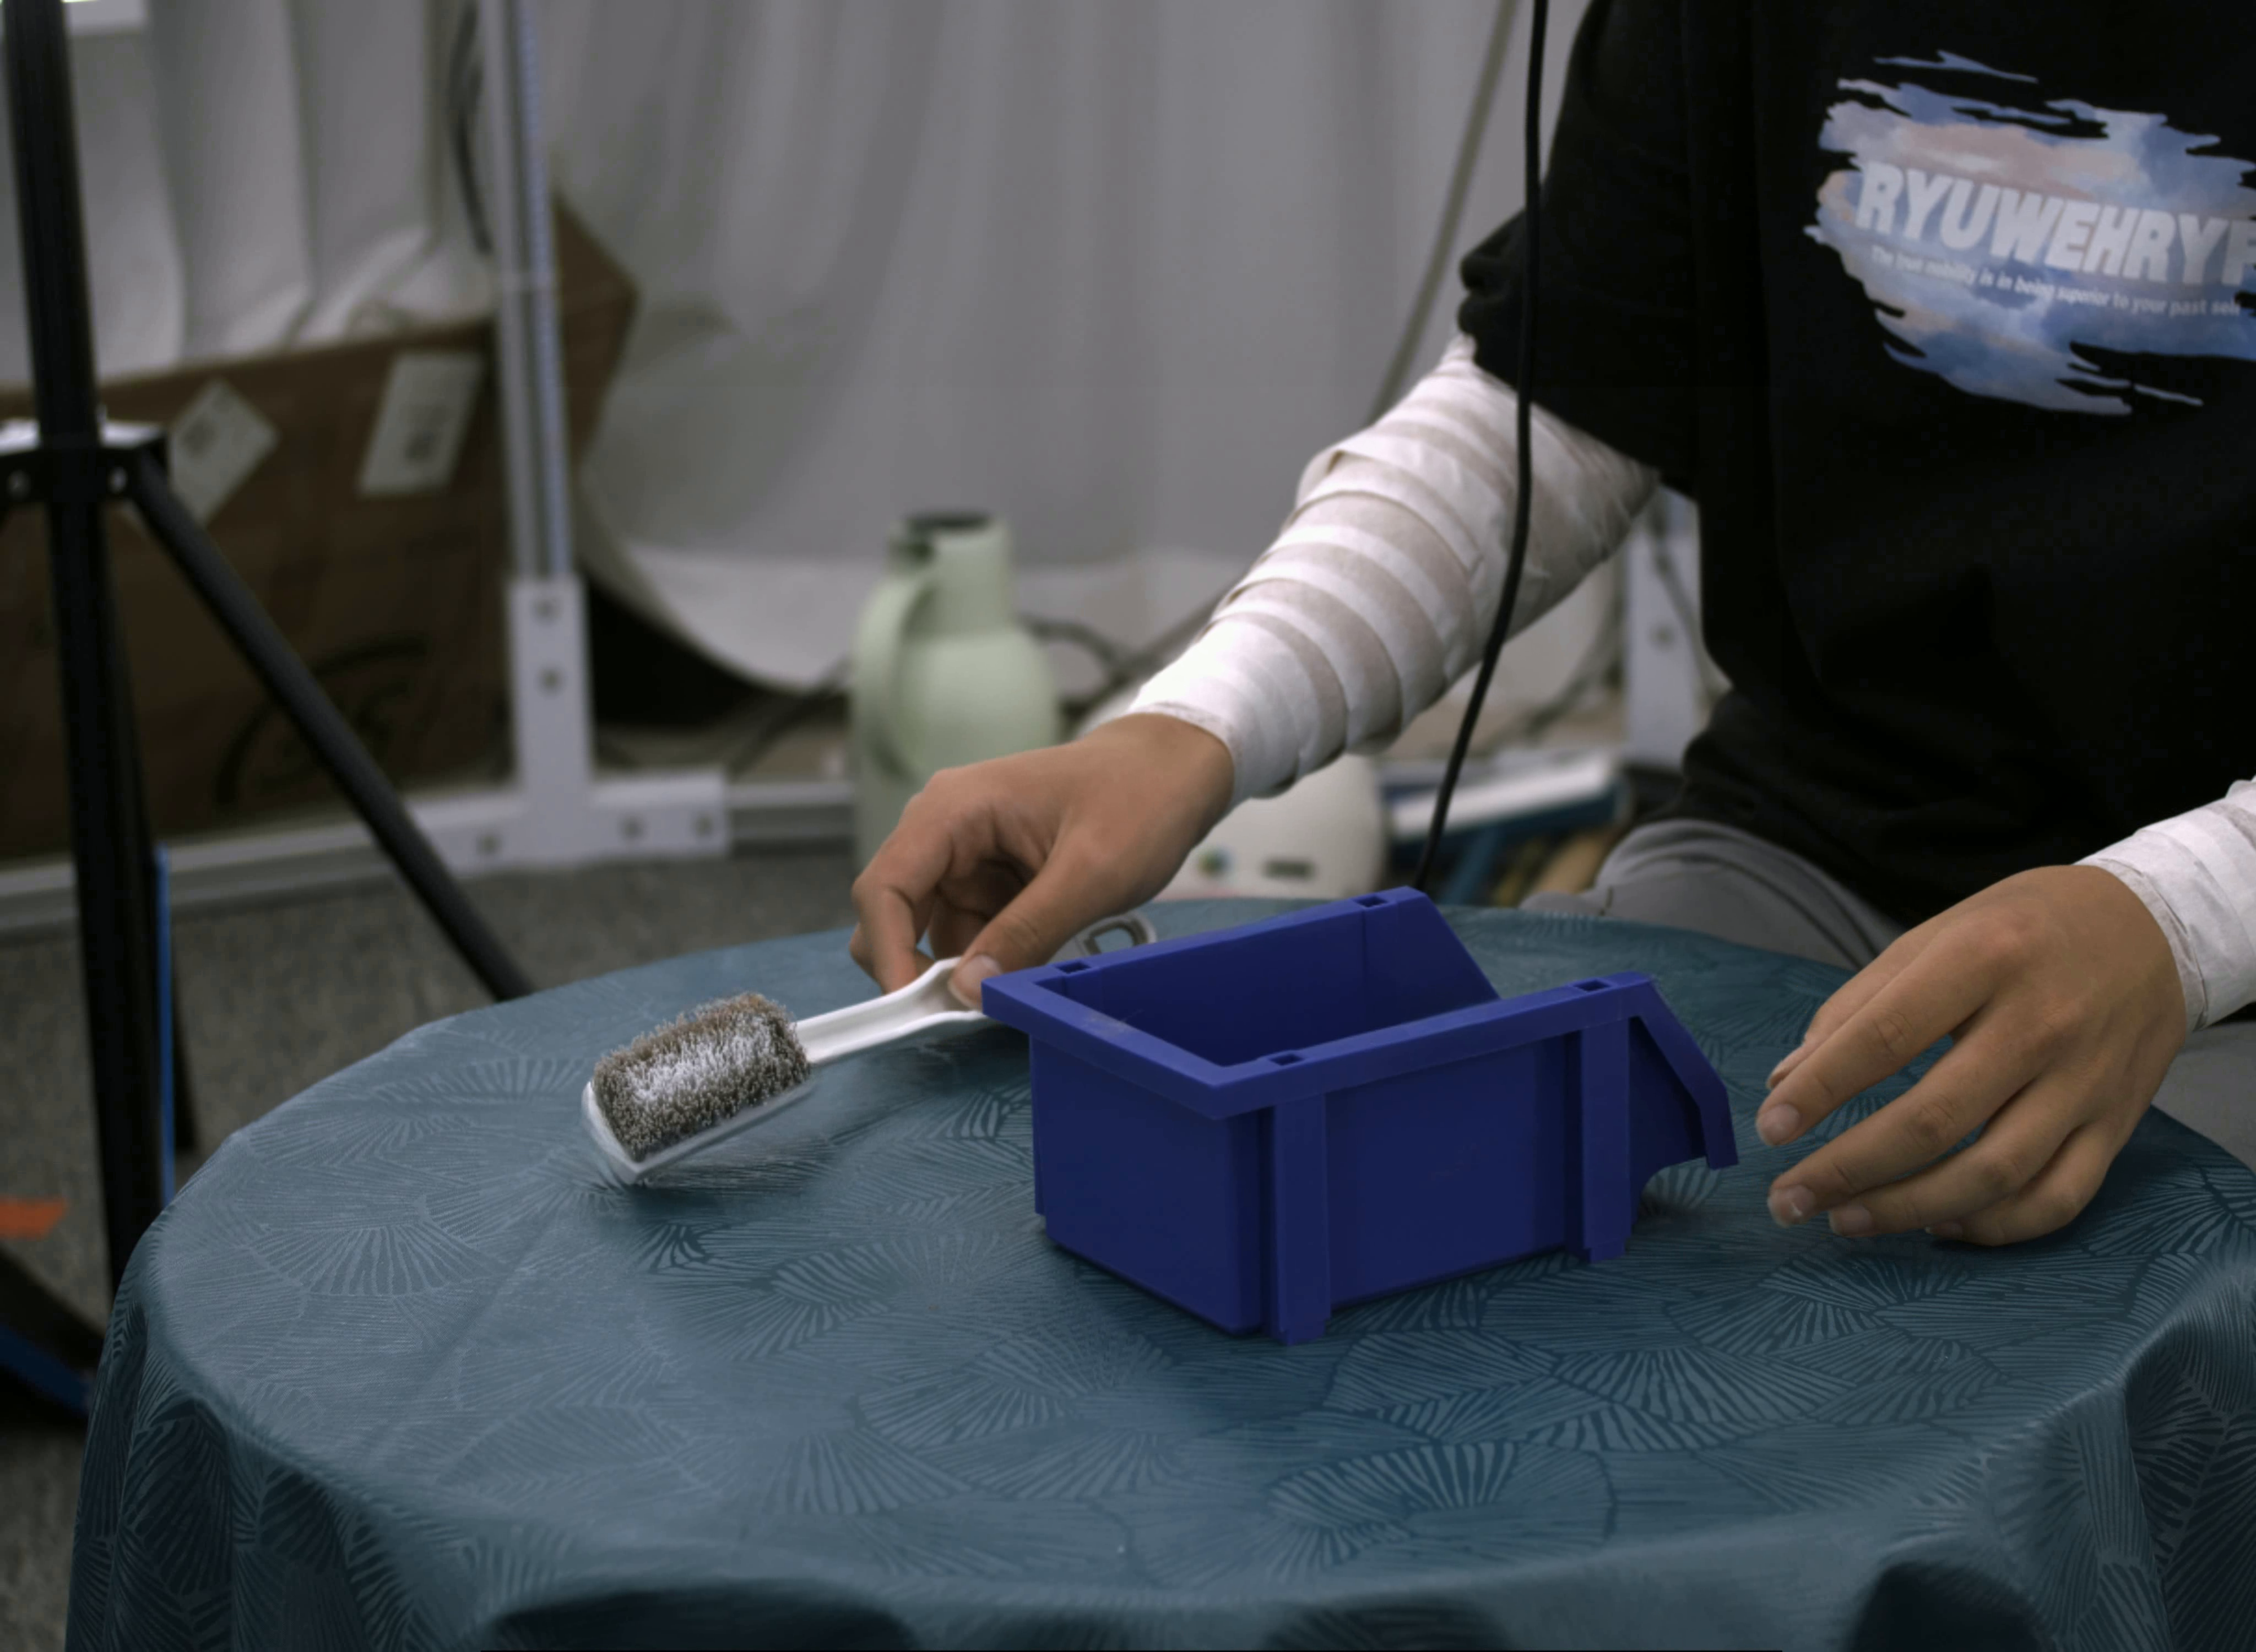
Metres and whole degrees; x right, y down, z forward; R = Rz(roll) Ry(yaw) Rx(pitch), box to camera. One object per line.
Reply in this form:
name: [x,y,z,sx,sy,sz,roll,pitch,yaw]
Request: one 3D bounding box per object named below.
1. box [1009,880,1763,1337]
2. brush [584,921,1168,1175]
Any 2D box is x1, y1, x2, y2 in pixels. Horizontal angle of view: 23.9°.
box: [0.073,0.076,1.512,0.175,0.082,0.127,-12,18,-28]
brush: [-0.068,0.057,1.641,0.238,0.035,0.051,-17,-20,-39]
